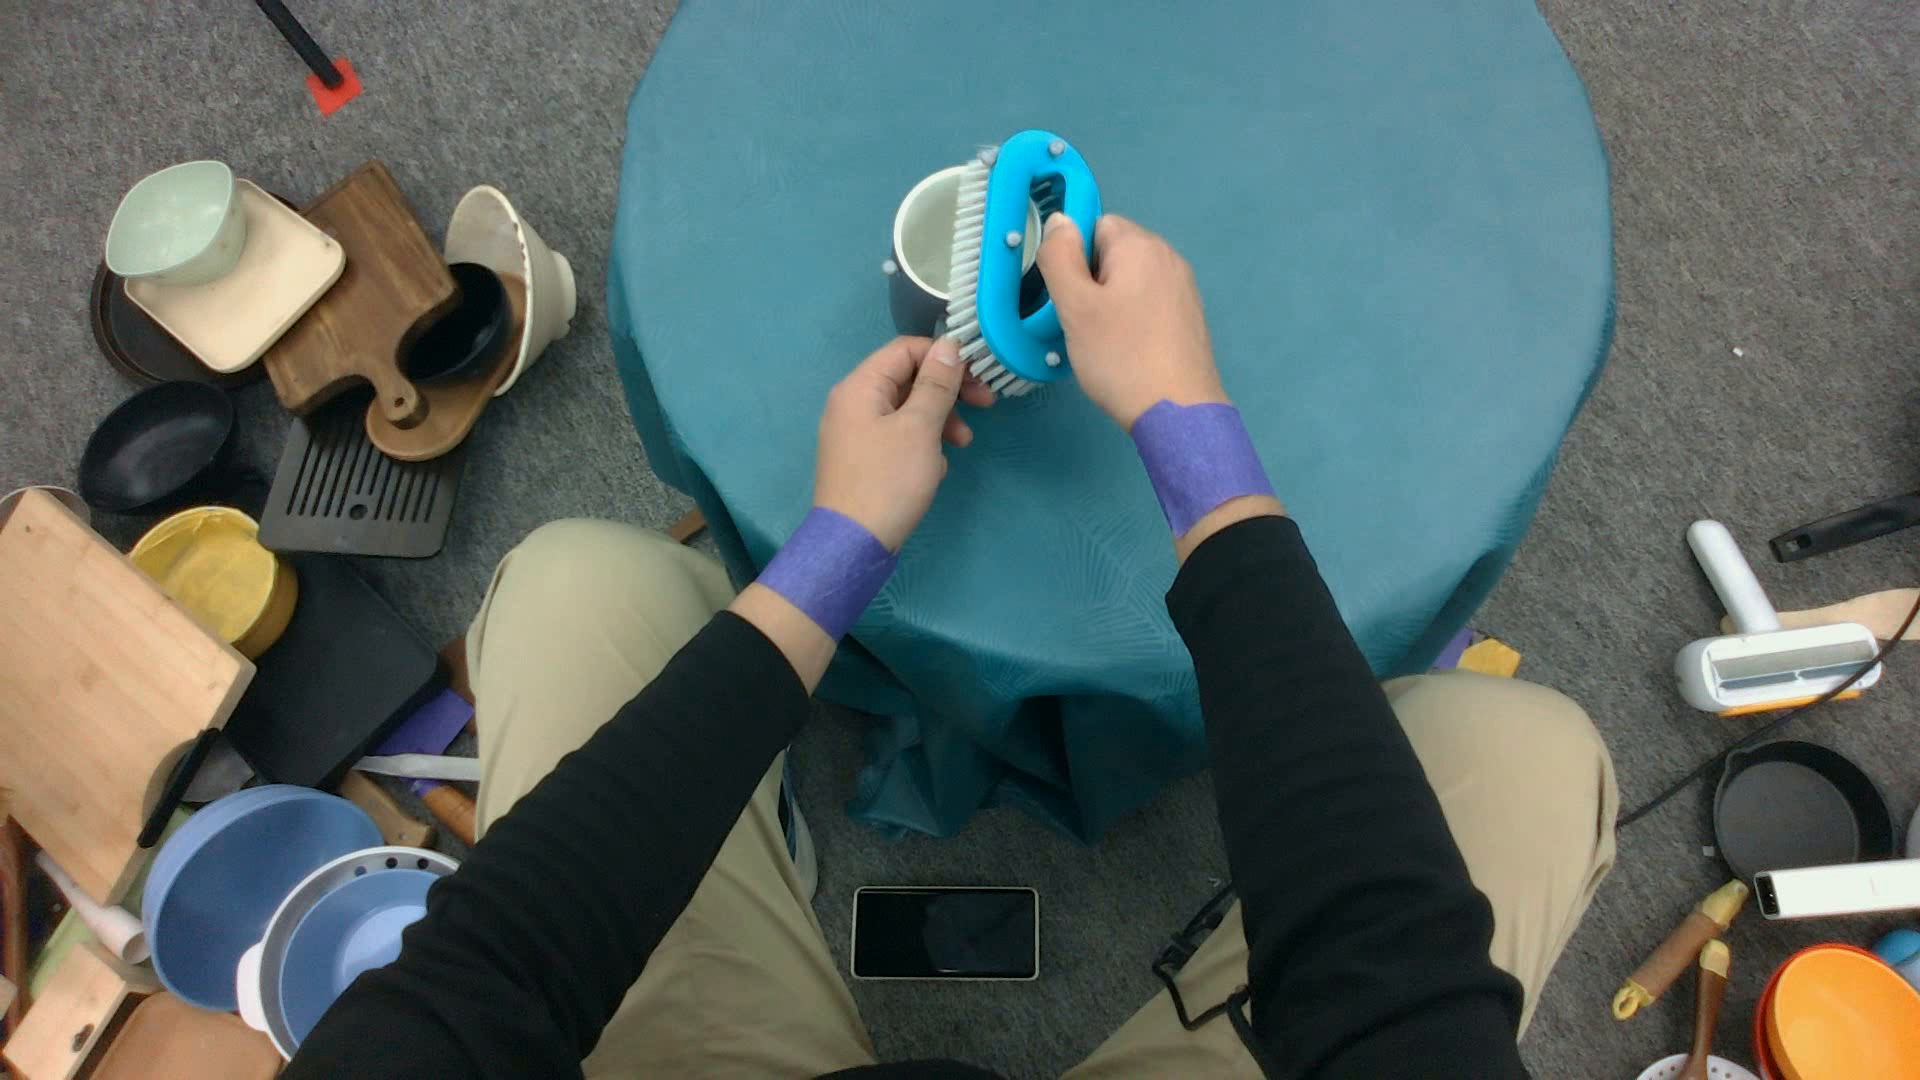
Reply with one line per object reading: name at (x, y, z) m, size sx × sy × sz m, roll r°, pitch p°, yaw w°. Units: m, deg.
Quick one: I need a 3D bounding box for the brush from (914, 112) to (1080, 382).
brush at (0.030, -0.154, 0.712) m, size 0.084 × 0.063 × 0.142 m, roll 19°, pitch 71°, yaw -37°

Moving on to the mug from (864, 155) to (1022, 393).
mug at (-0.012, -0.141, 0.761) m, size 0.093 × 0.089 × 0.123 m, roll 12°, pitch 71°, yaw 5°
